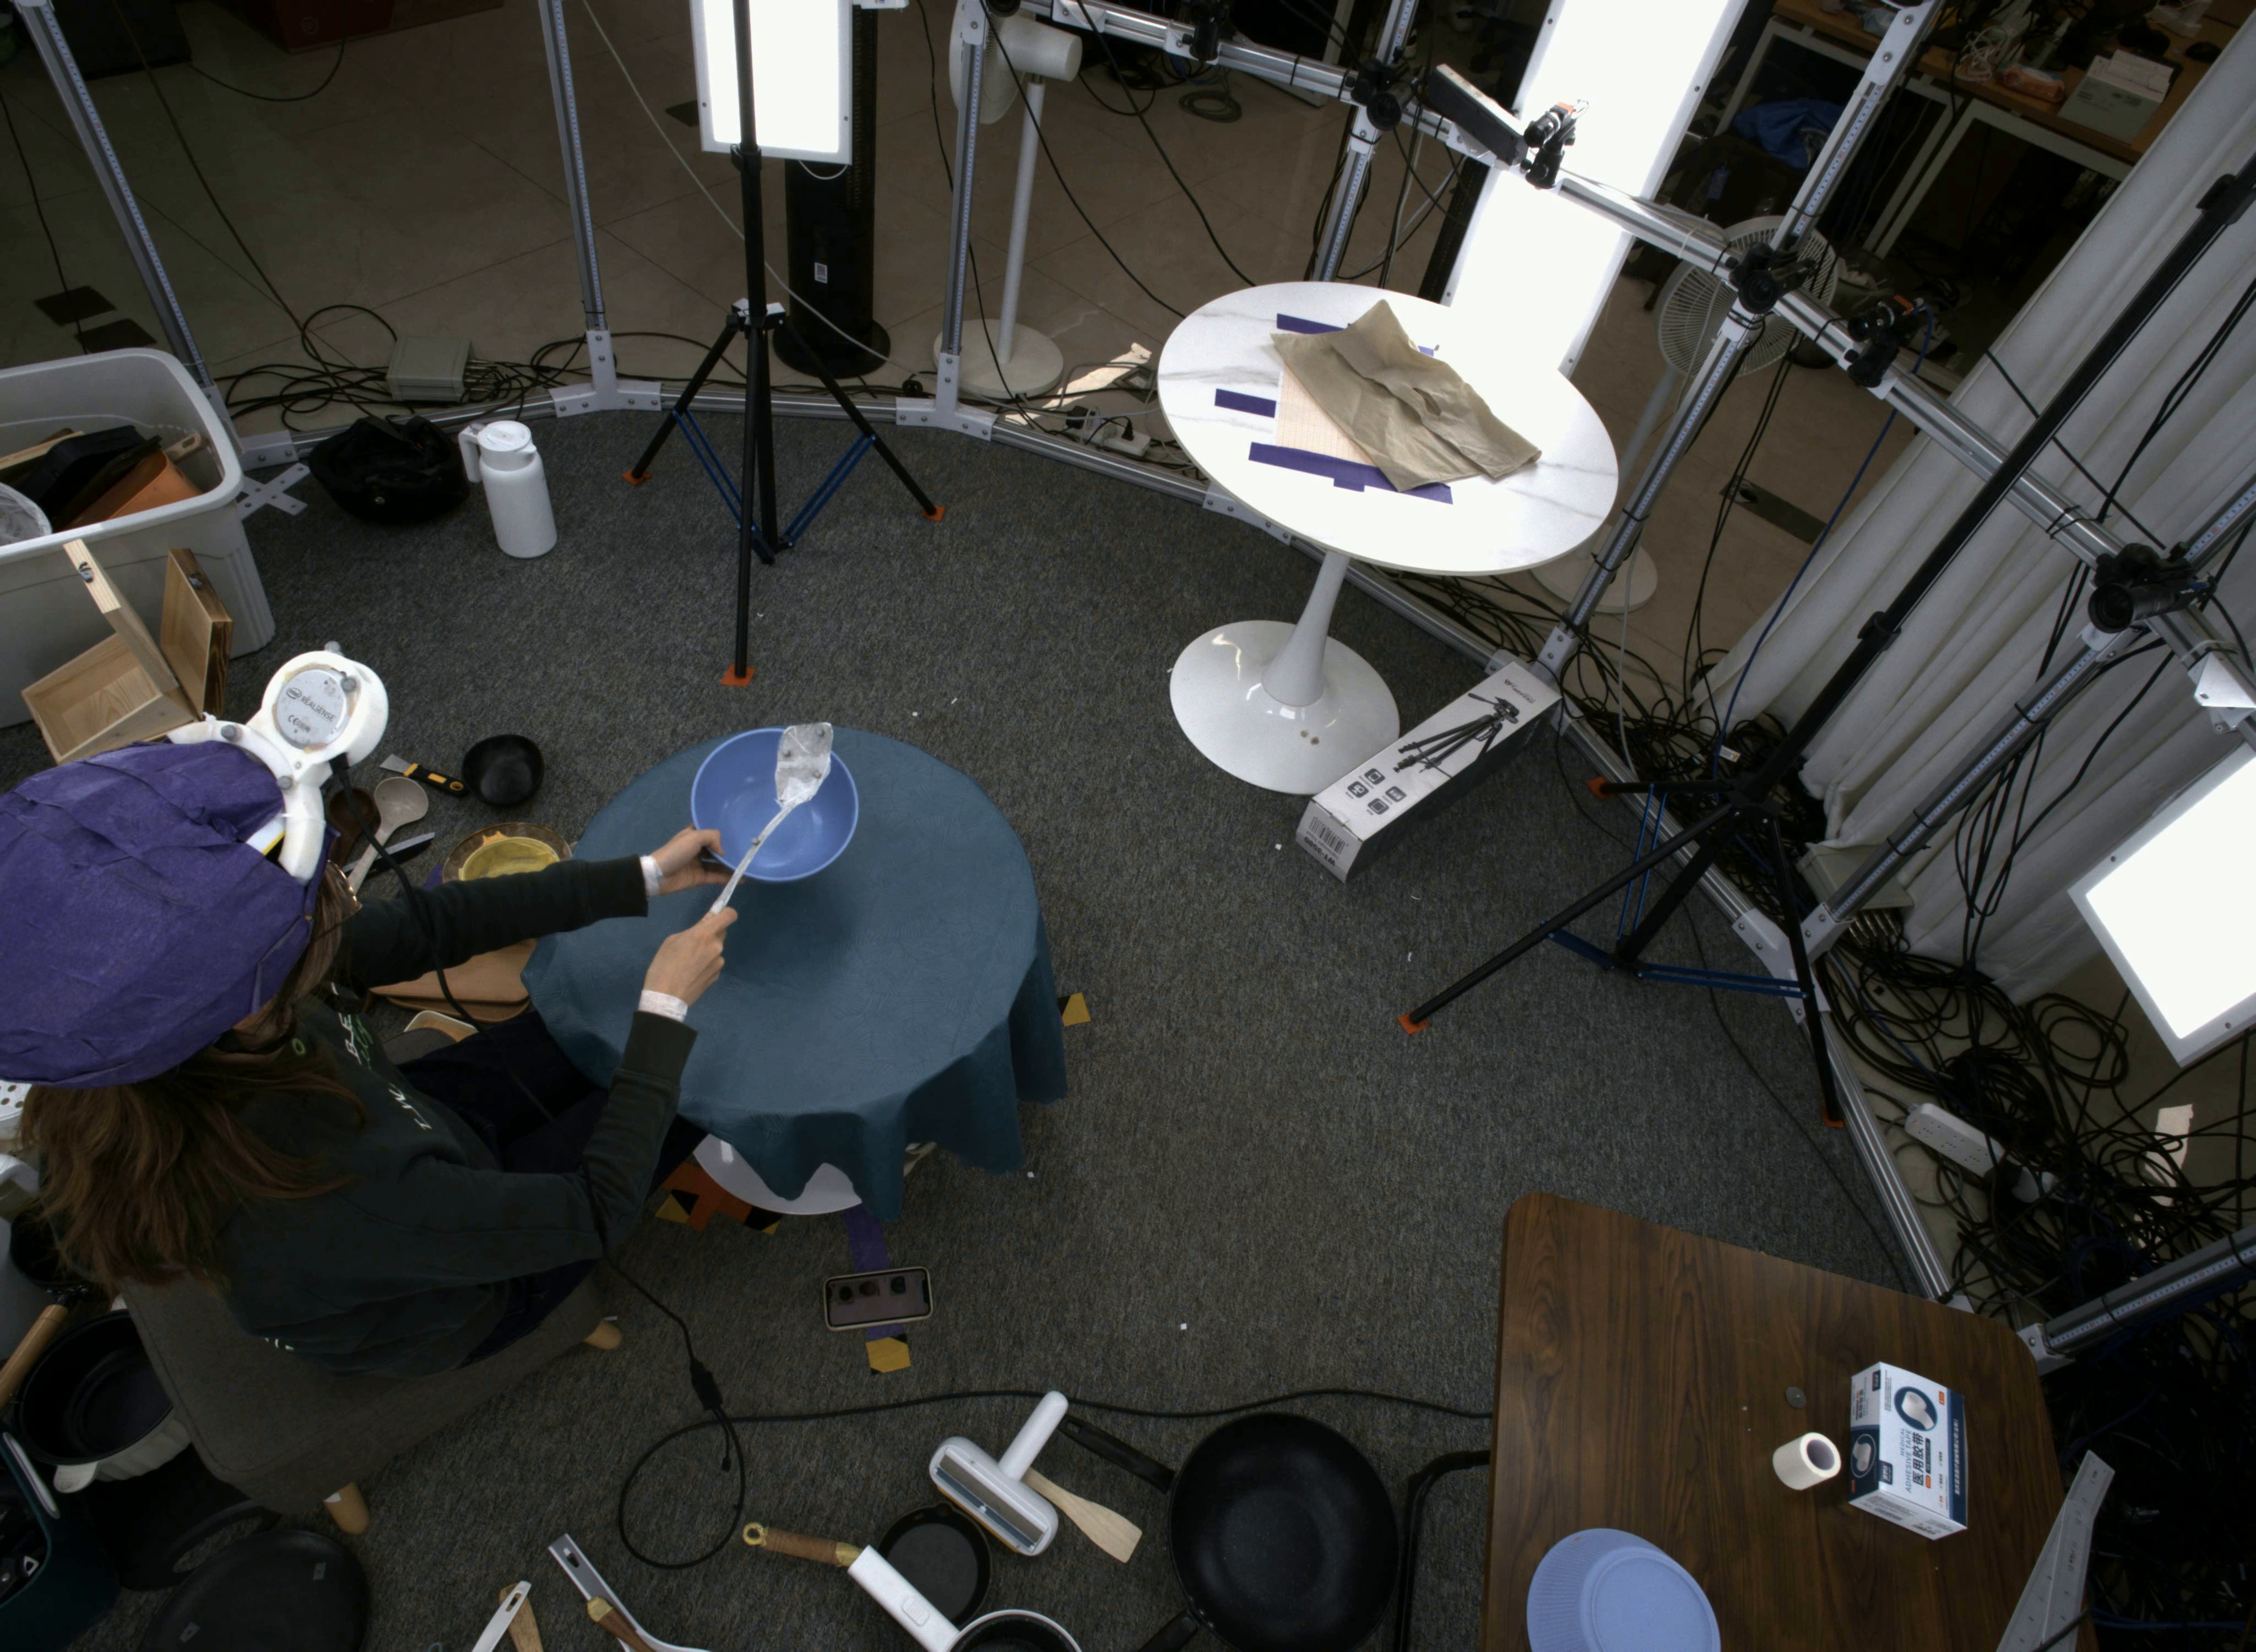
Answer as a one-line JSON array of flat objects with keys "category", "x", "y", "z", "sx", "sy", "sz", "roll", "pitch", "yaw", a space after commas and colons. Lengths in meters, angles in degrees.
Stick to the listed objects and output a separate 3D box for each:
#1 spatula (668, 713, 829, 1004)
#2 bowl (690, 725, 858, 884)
[{"category": "spatula", "x": -0.432, "y": 0.029, "z": 1.446, "sx": 0.095, "sy": 0.046, "sz": 0.363, "roll": 2, "pitch": 56, "yaw": 37}, {"category": "bowl", "x": -0.436, "y": -0.013, "z": 1.587, "sx": 0.198, "sy": 0.095, "sz": 0.195, "roll": 8, "pitch": 69, "yaw": -19}]
